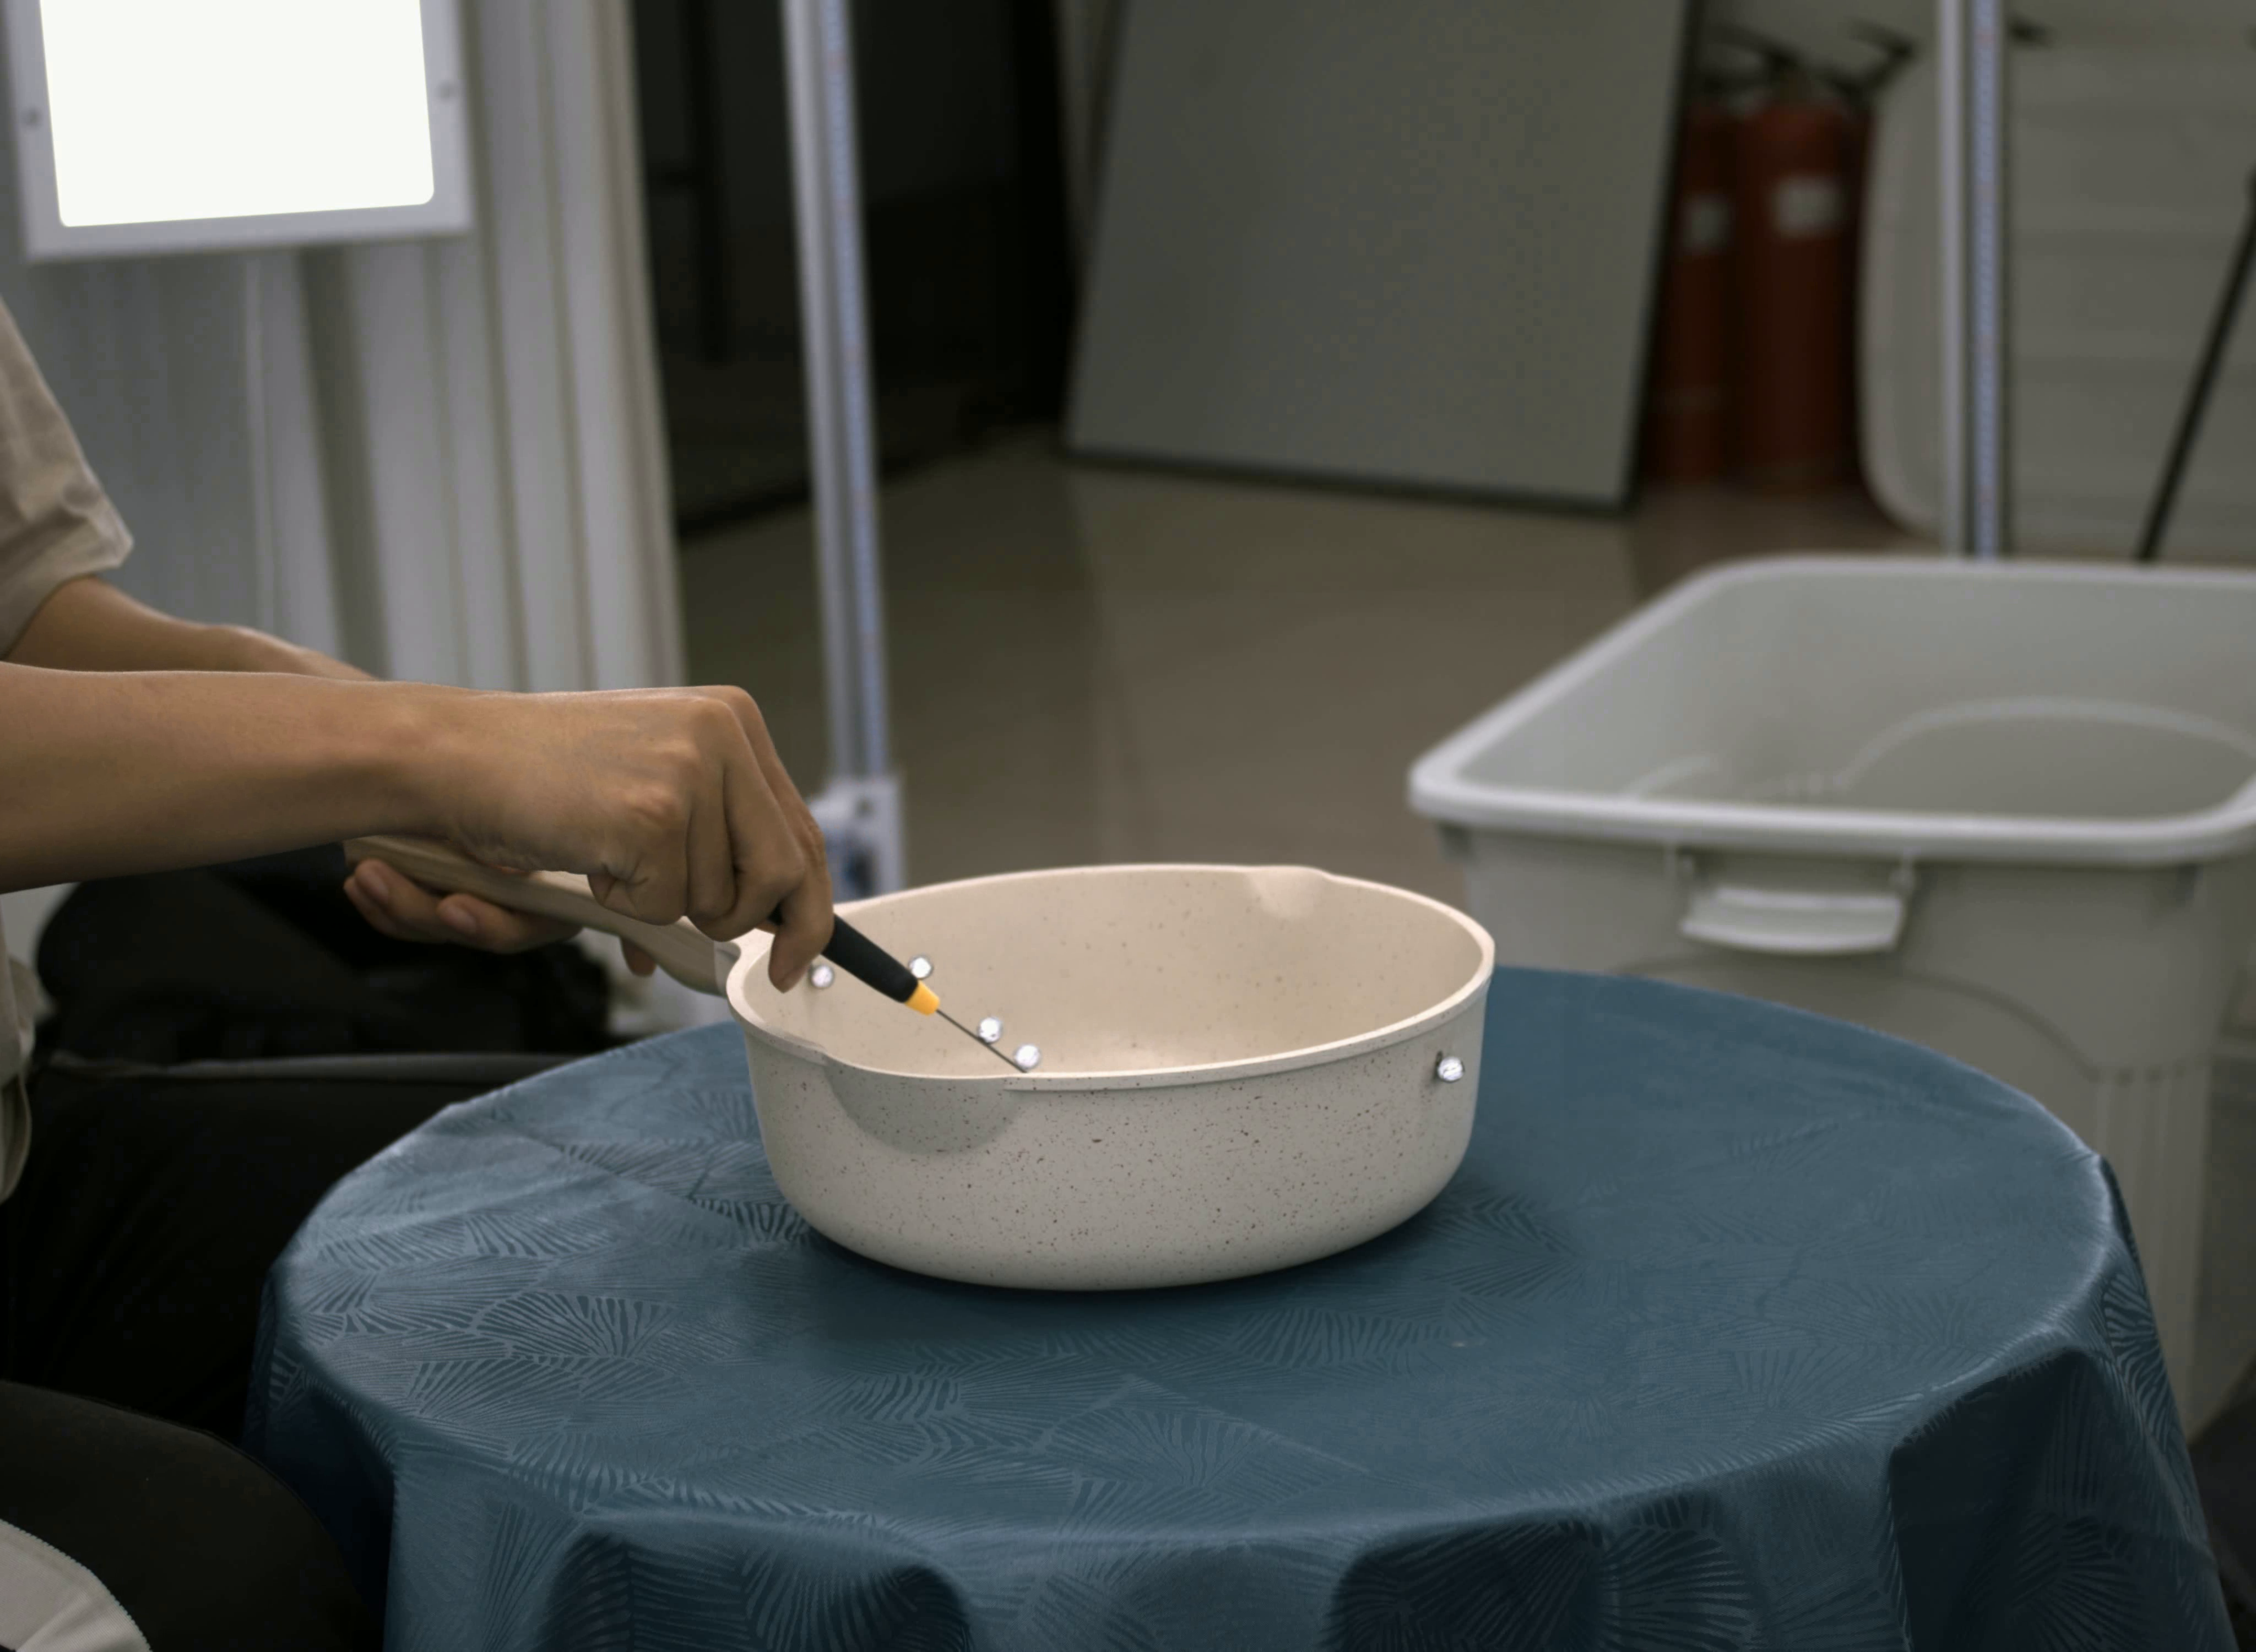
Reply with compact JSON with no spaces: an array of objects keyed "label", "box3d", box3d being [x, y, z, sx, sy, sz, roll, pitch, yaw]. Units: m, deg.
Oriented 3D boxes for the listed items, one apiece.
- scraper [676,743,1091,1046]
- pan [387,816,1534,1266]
[{"label":"scraper","box3d":[-0.075,0.025,1.687,0.168,0.015,0.039,37,5,-25]},{"label":"pan","box3d":[-0.067,0.060,1.818,0.437,0.103,0.259,4,18,31]}]
